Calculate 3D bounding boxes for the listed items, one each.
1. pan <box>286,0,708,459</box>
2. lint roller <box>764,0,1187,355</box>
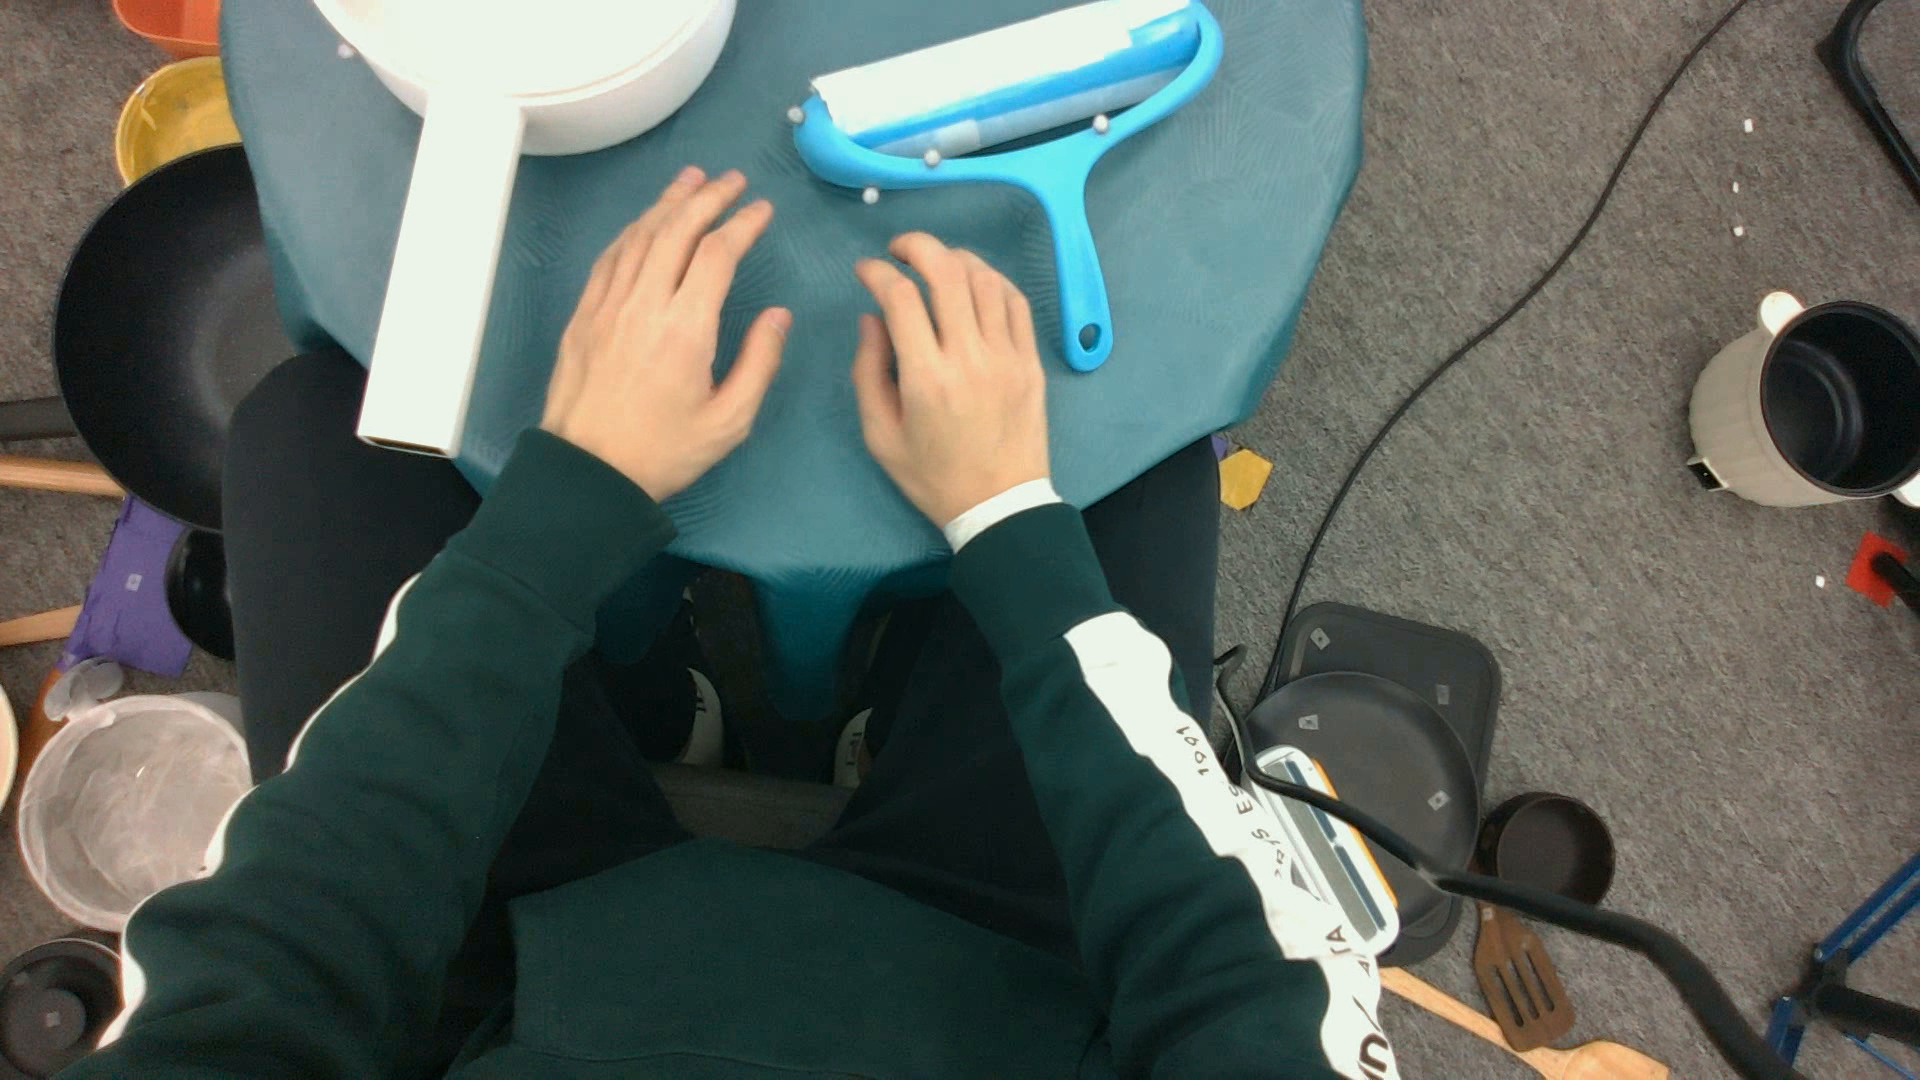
[{"bbox_3d":[-0.230,-0.211,0.651,0.201,0.102,0.355,9,84,-8],"label":"pan"},{"bbox_3d":[0.032,-0.187,0.709,0.229,0.068,0.180,-22,87,-11],"label":"lint roller"}]
